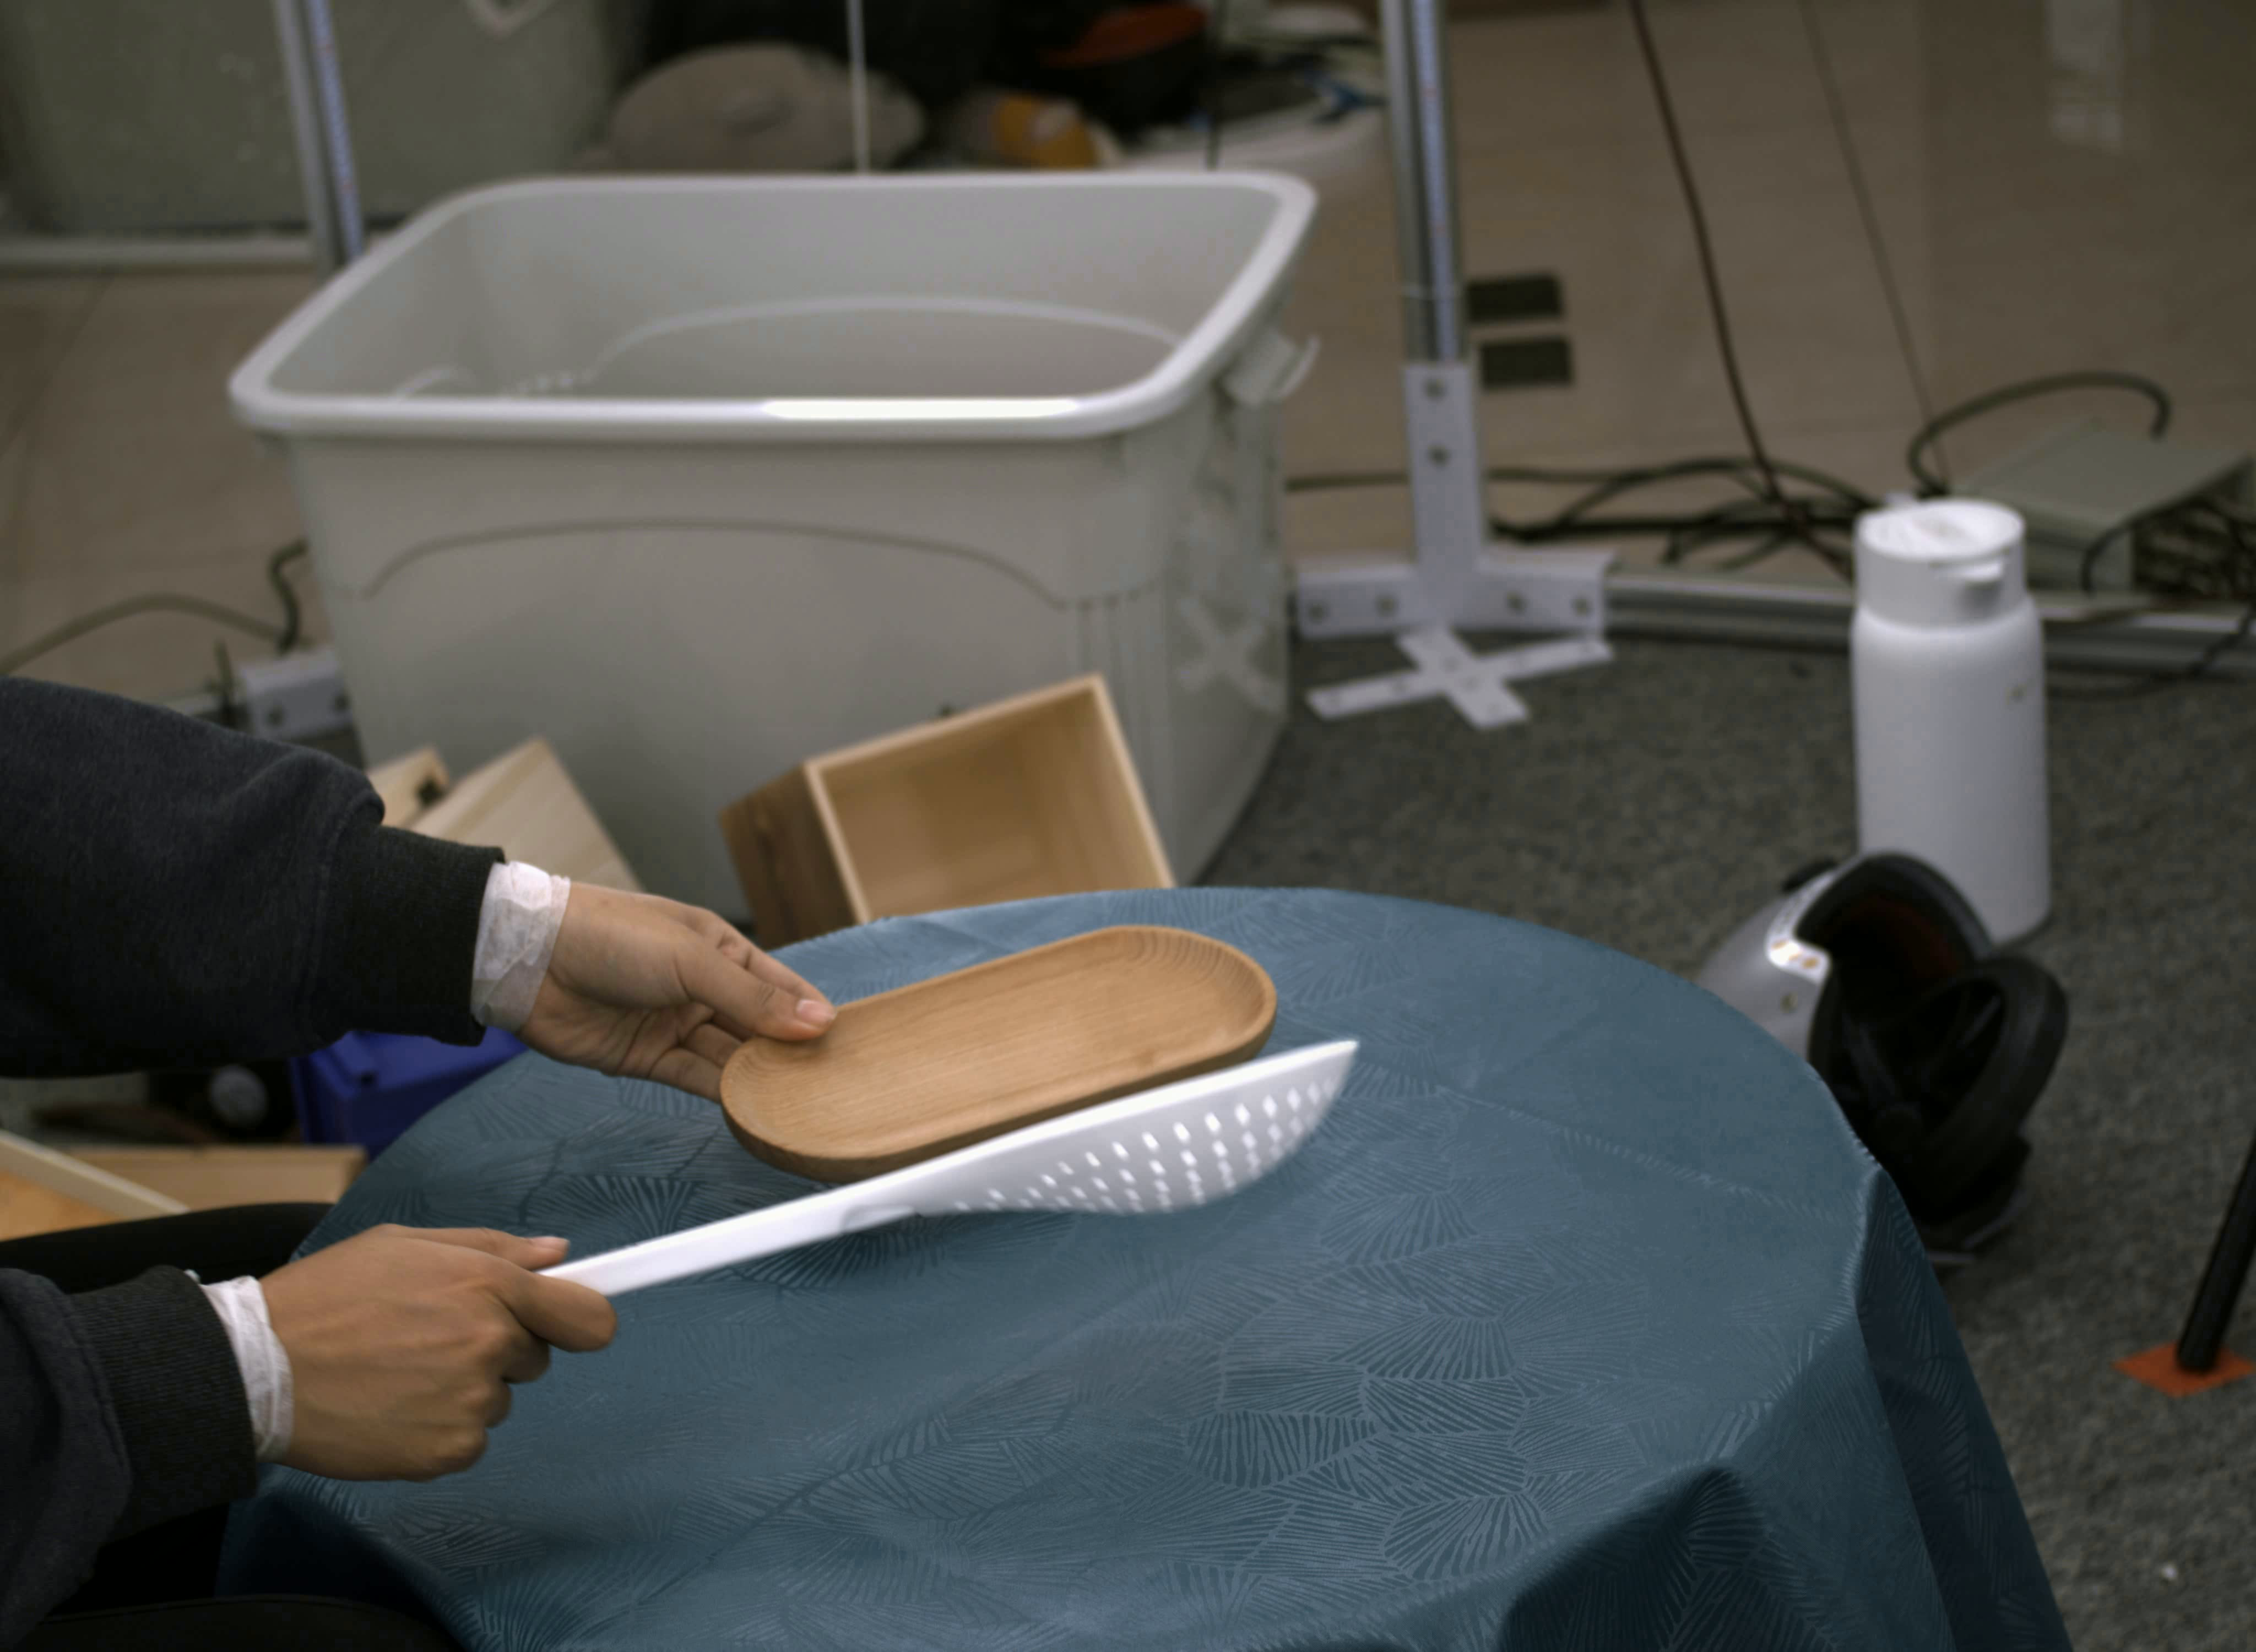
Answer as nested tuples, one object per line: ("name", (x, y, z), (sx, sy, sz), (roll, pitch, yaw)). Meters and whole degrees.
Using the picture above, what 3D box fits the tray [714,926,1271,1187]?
("tray", (-0.050, 0.088, 2.173), (0.230, 0.021, 0.100), (-18, 35, -27))

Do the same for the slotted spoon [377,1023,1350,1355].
("slotted spoon", (-0.090, 0.126, 1.959), (0.349, 0.046, 0.136), (-12, -3, -1))
